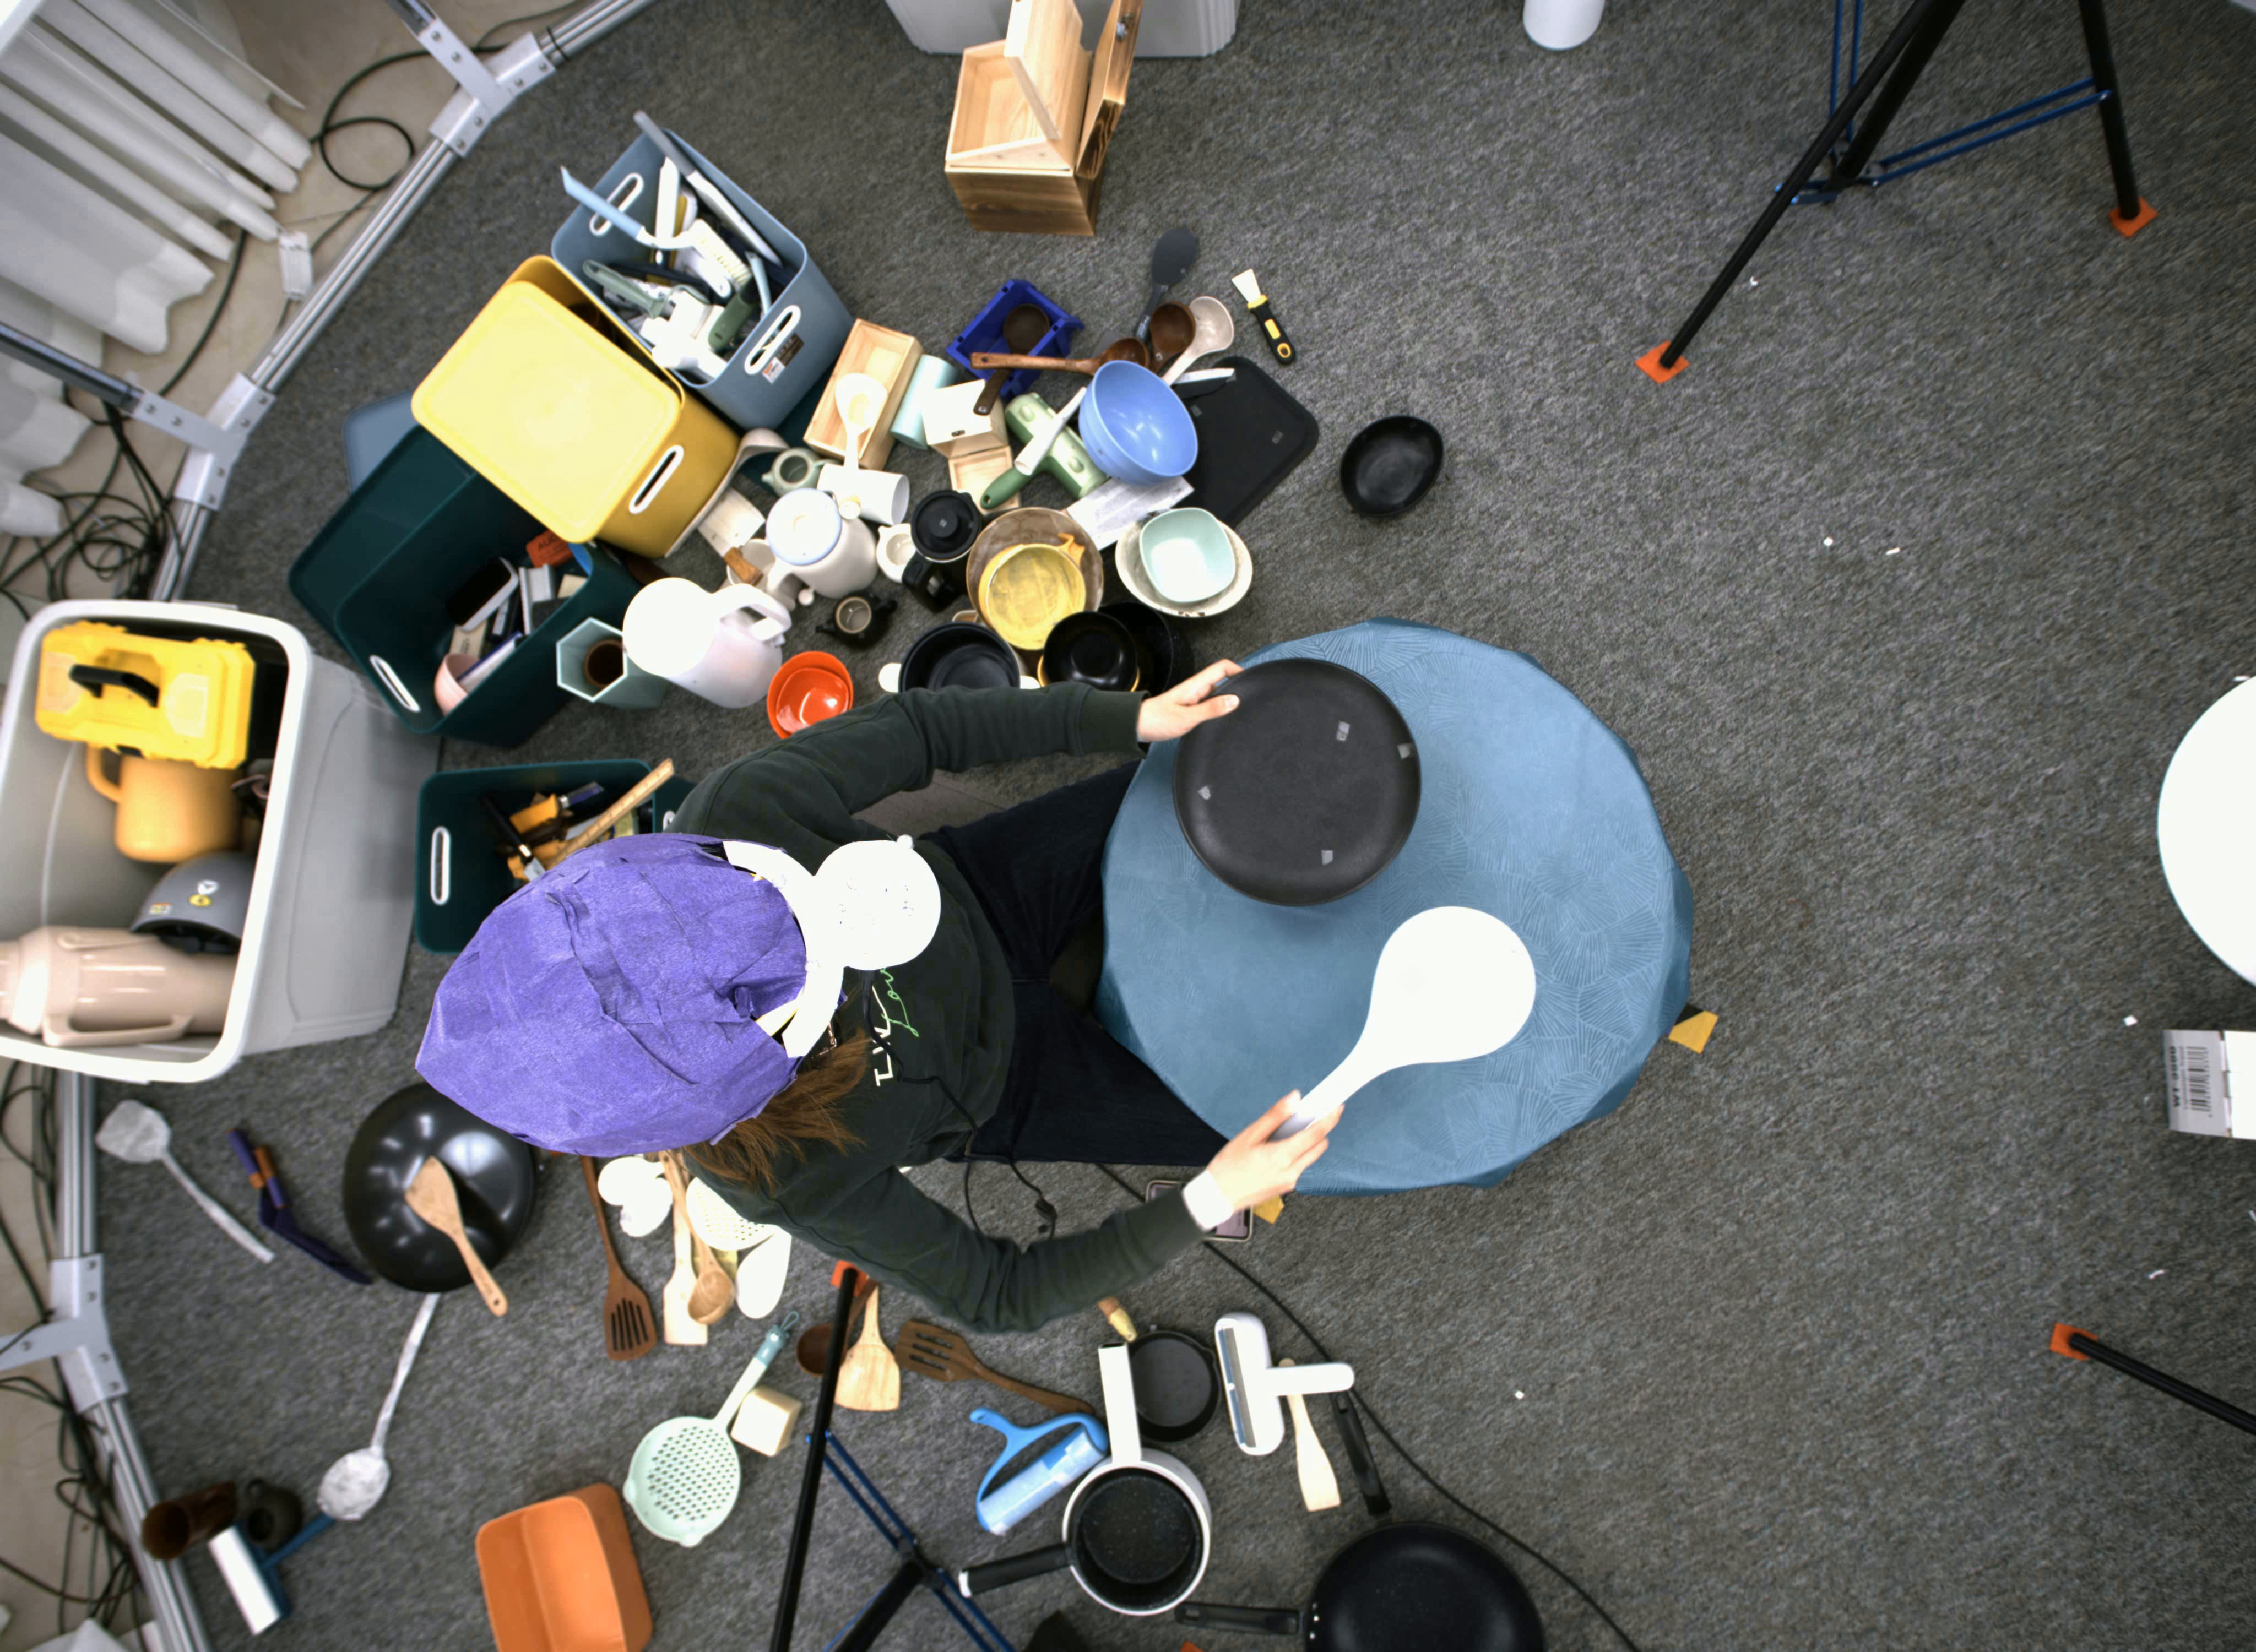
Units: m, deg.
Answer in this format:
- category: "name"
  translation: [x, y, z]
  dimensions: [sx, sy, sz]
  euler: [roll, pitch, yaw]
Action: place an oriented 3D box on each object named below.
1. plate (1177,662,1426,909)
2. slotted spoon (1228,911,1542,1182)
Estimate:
- category: "plate"
  translation: [0.170, -0.041, 1.361]
  dimensions: [0.245, 0.023, 0.244]
  euler: [0, 90, 12]
- category: "slotted spoon"
  translation: [0.231, 0.216, 1.292]
  dimensions: [0.352, 0.046, 0.135]
  euler: [-41, 79, 8]
